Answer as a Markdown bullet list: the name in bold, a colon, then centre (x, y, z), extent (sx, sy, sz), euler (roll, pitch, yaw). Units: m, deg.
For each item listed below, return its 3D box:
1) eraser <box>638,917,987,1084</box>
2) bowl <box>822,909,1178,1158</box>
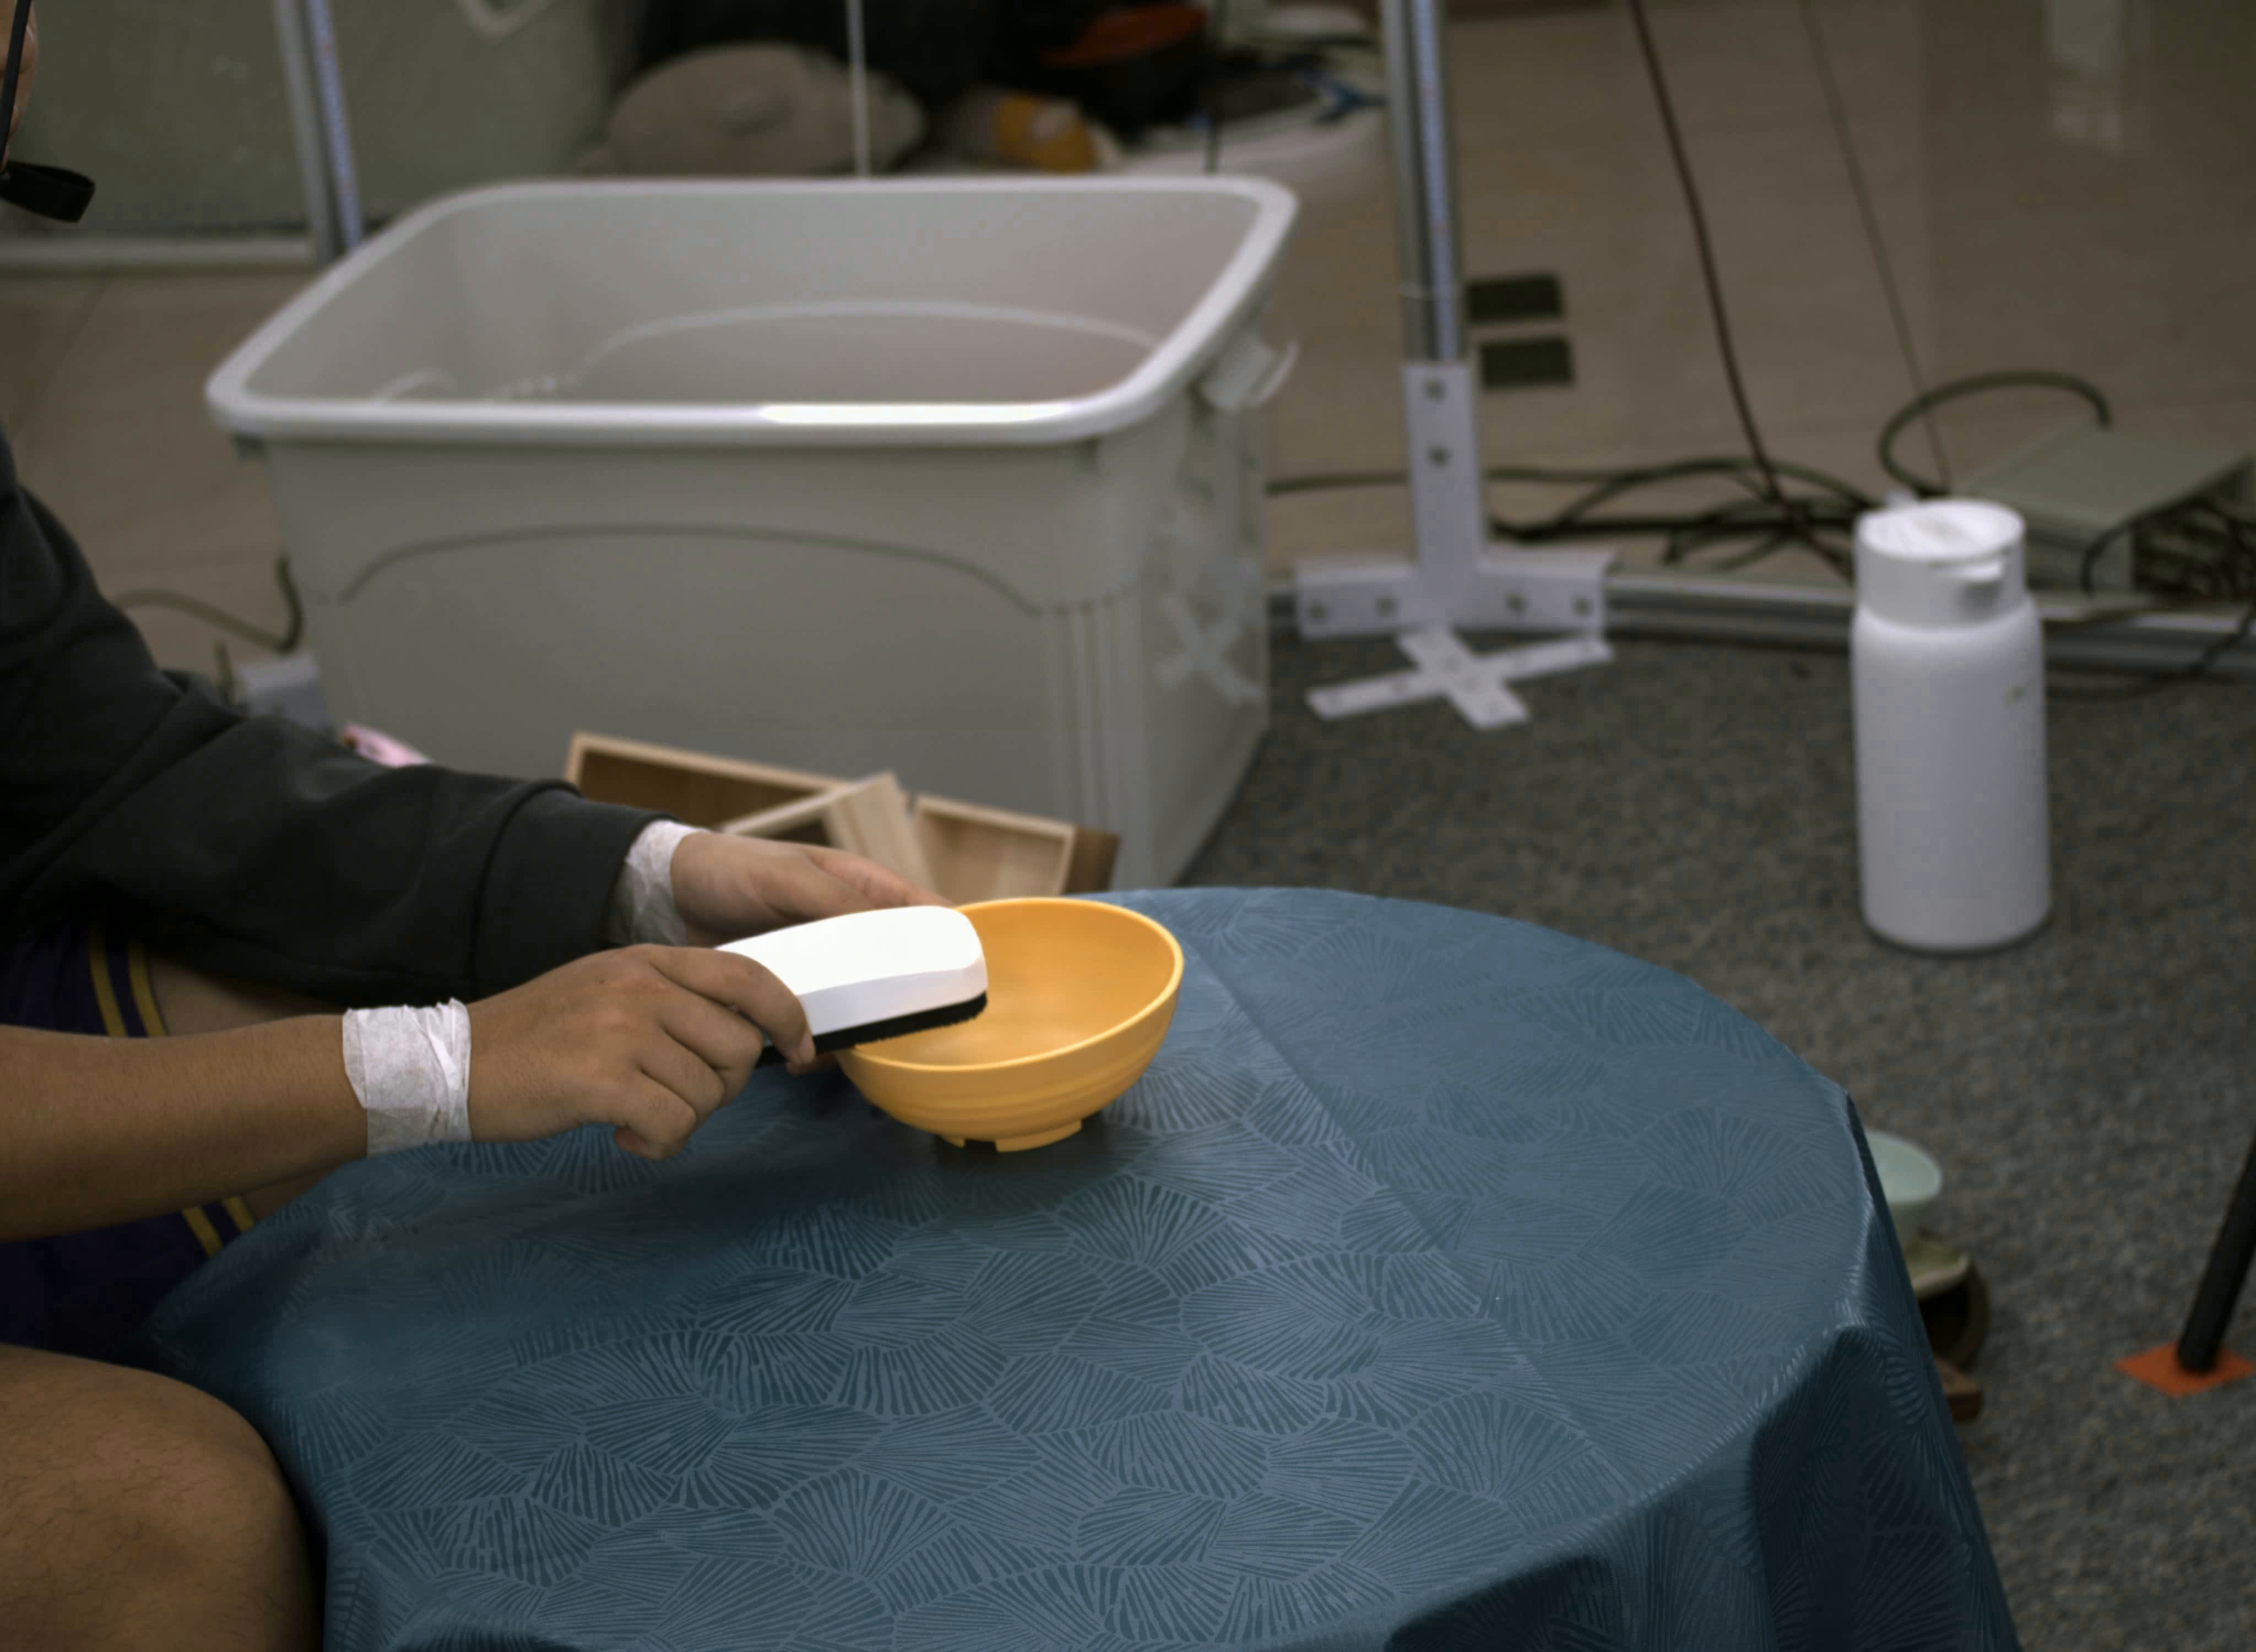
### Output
- **eraser**: centre (-0.120, 0.063, 2.164), extent (0.131, 0.035, 0.062), euler (-11, 24, -9)
- **bowl**: centre (-0.048, 0.088, 2.201), extent (0.145, 0.061, 0.143), euler (-8, 24, 4)
